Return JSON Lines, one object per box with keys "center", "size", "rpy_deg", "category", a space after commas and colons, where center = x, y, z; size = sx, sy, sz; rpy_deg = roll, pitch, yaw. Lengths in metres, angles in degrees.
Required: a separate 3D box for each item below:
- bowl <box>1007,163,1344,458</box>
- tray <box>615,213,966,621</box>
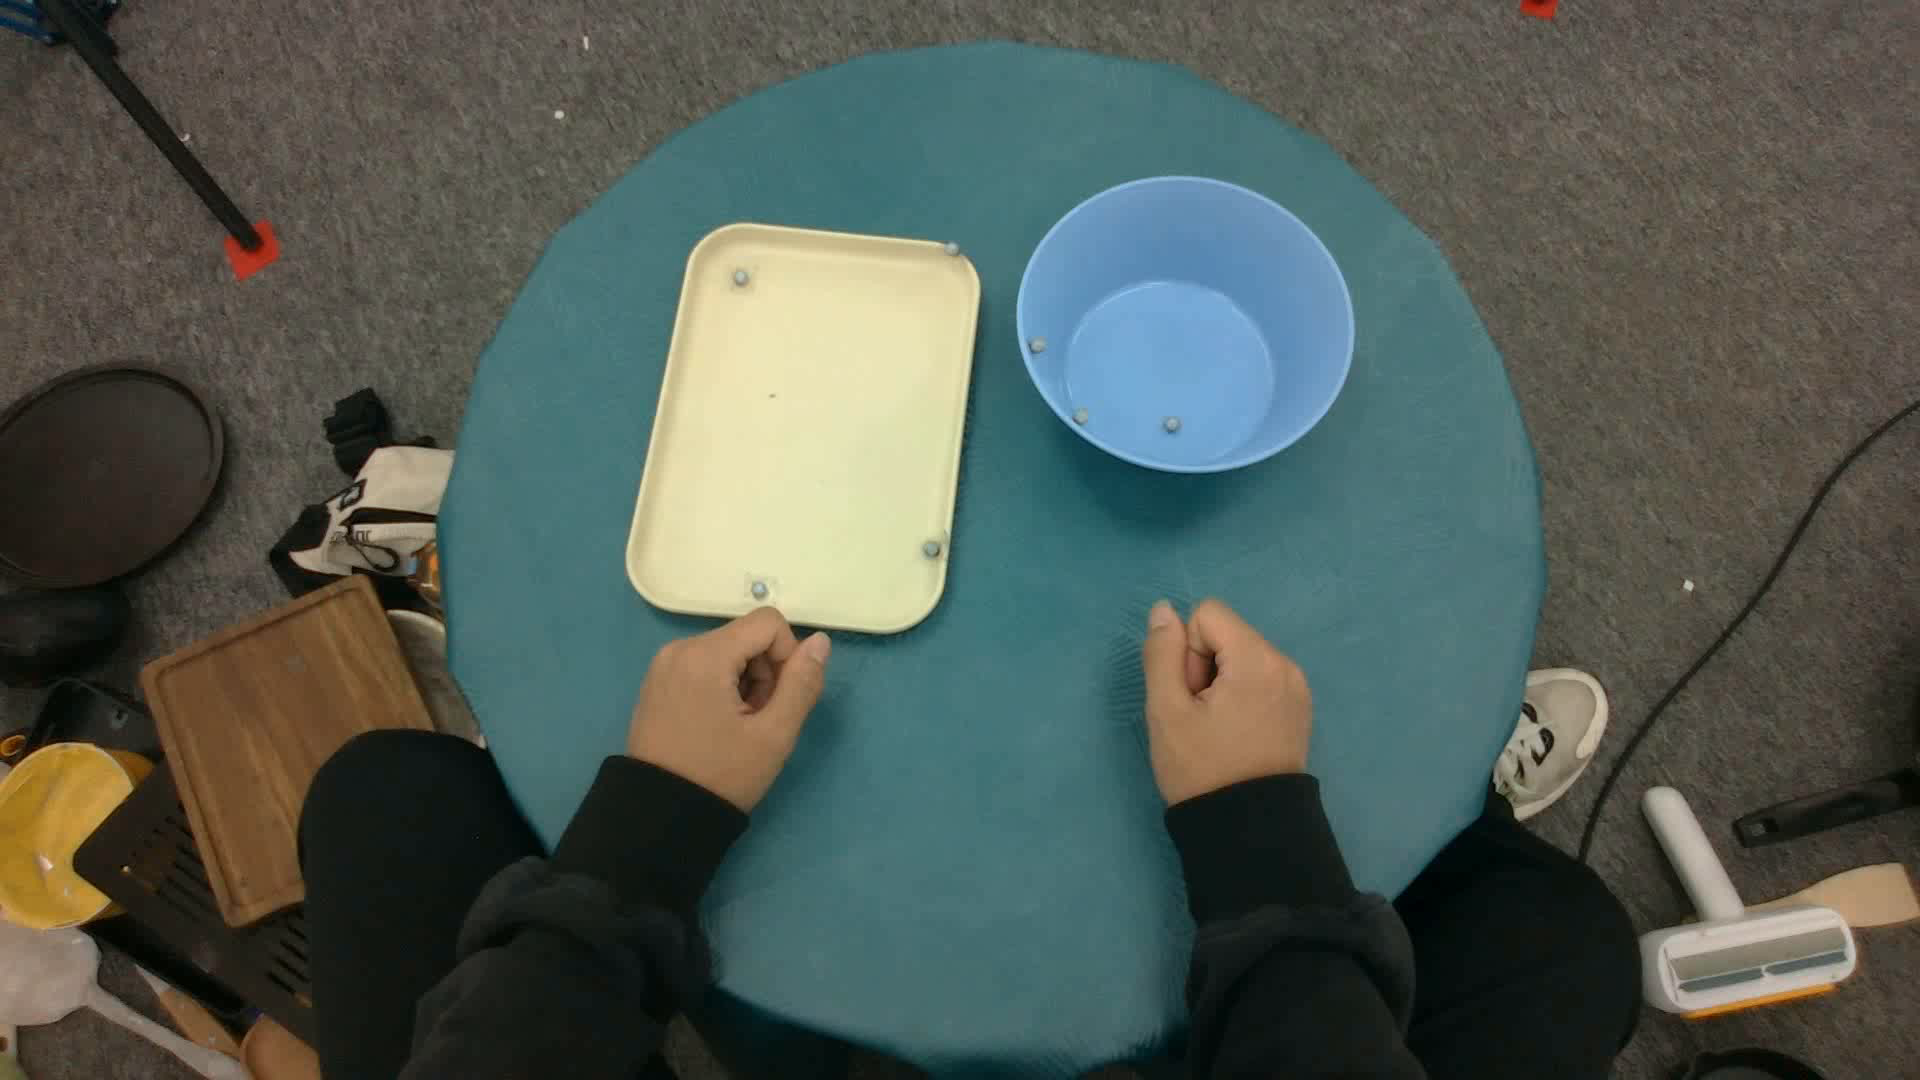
{"center": [0.113, -0.113, 0.750], "size": [0.176, 0.070, 0.176], "rpy_deg": [0, 69, 1], "category": "bowl"}
{"center": [-0.089, -0.072, 0.761], "size": [0.171, 0.017, 0.240], "rpy_deg": [5, 69, 2], "category": "tray"}
